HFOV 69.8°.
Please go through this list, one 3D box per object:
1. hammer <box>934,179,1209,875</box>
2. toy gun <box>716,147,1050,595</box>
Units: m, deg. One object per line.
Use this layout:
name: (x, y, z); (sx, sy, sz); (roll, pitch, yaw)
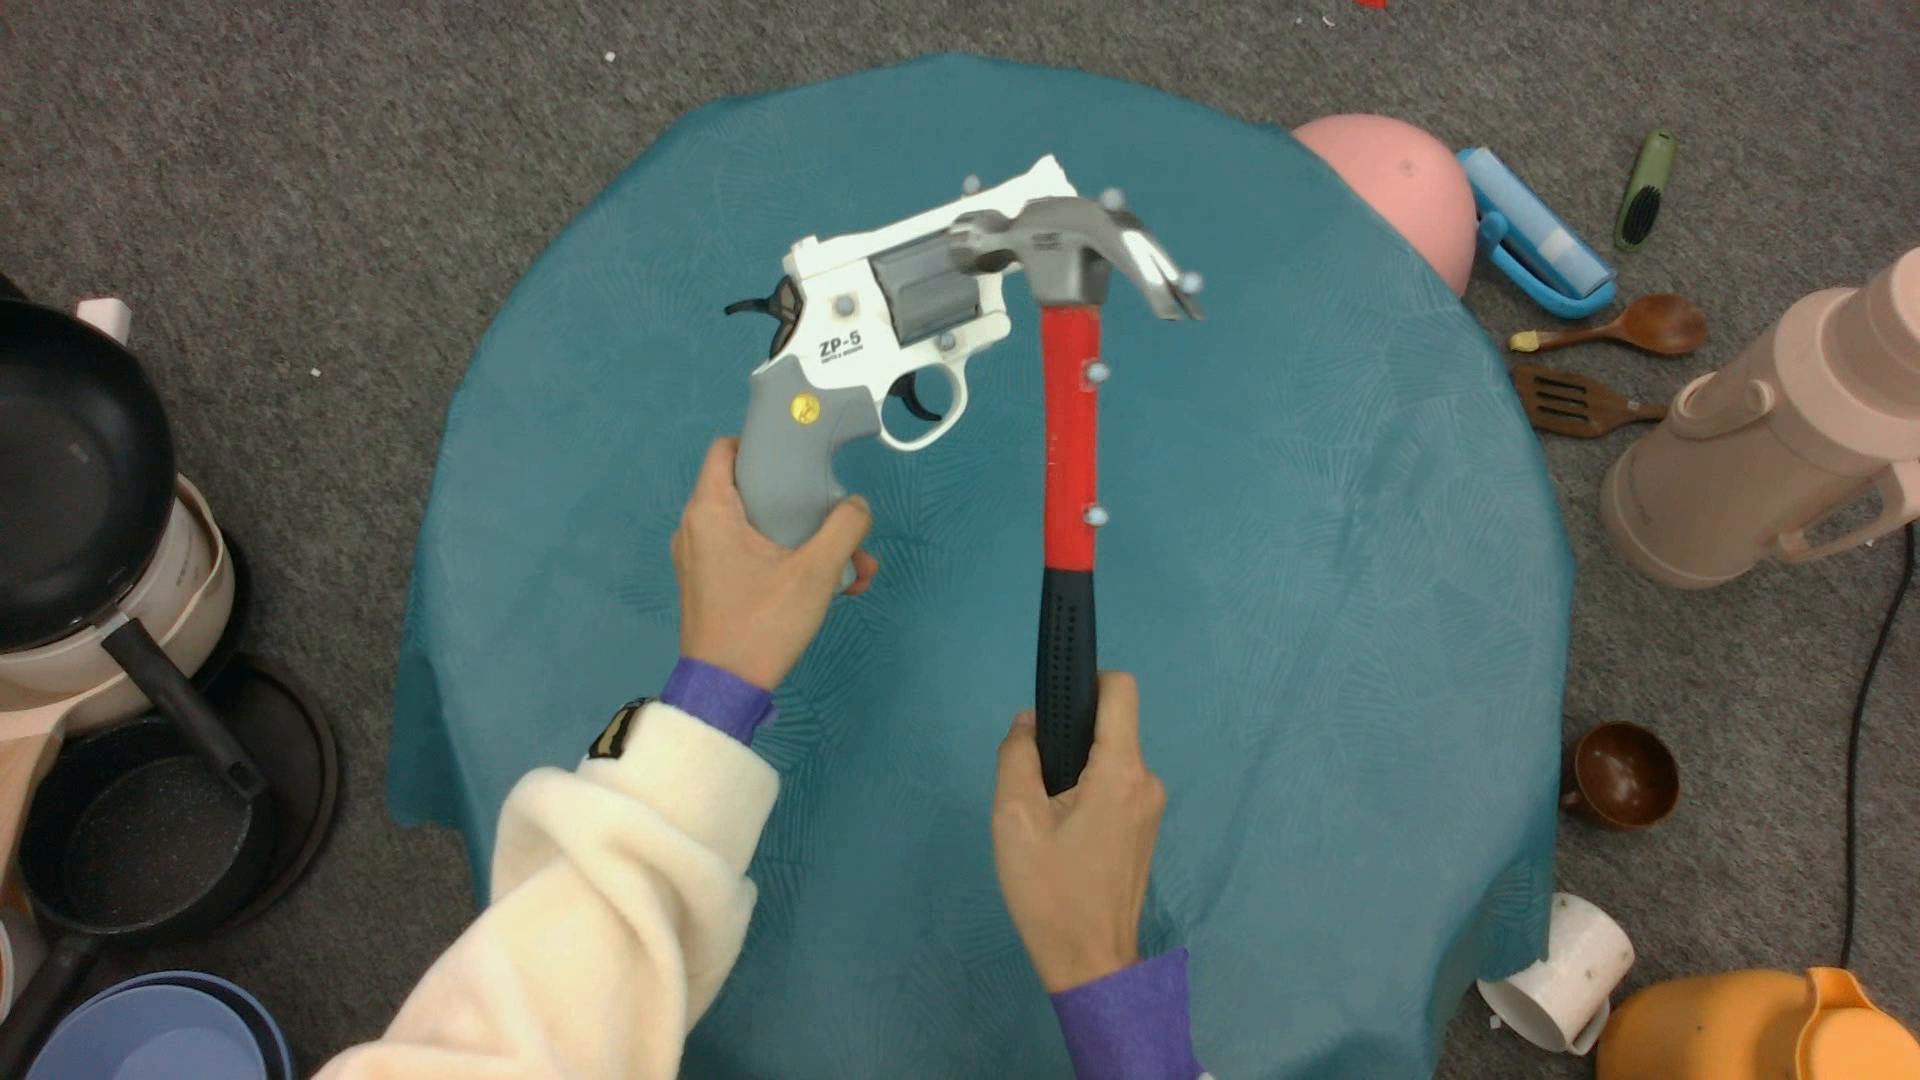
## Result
hammer: (0.038, 0.000, 0.547); (0.110, 0.026, 0.277); (8, 102, 32)
toy gun: (-0.031, -0.076, 0.605); (0.210, 0.039, 0.141); (-27, 100, -21)
